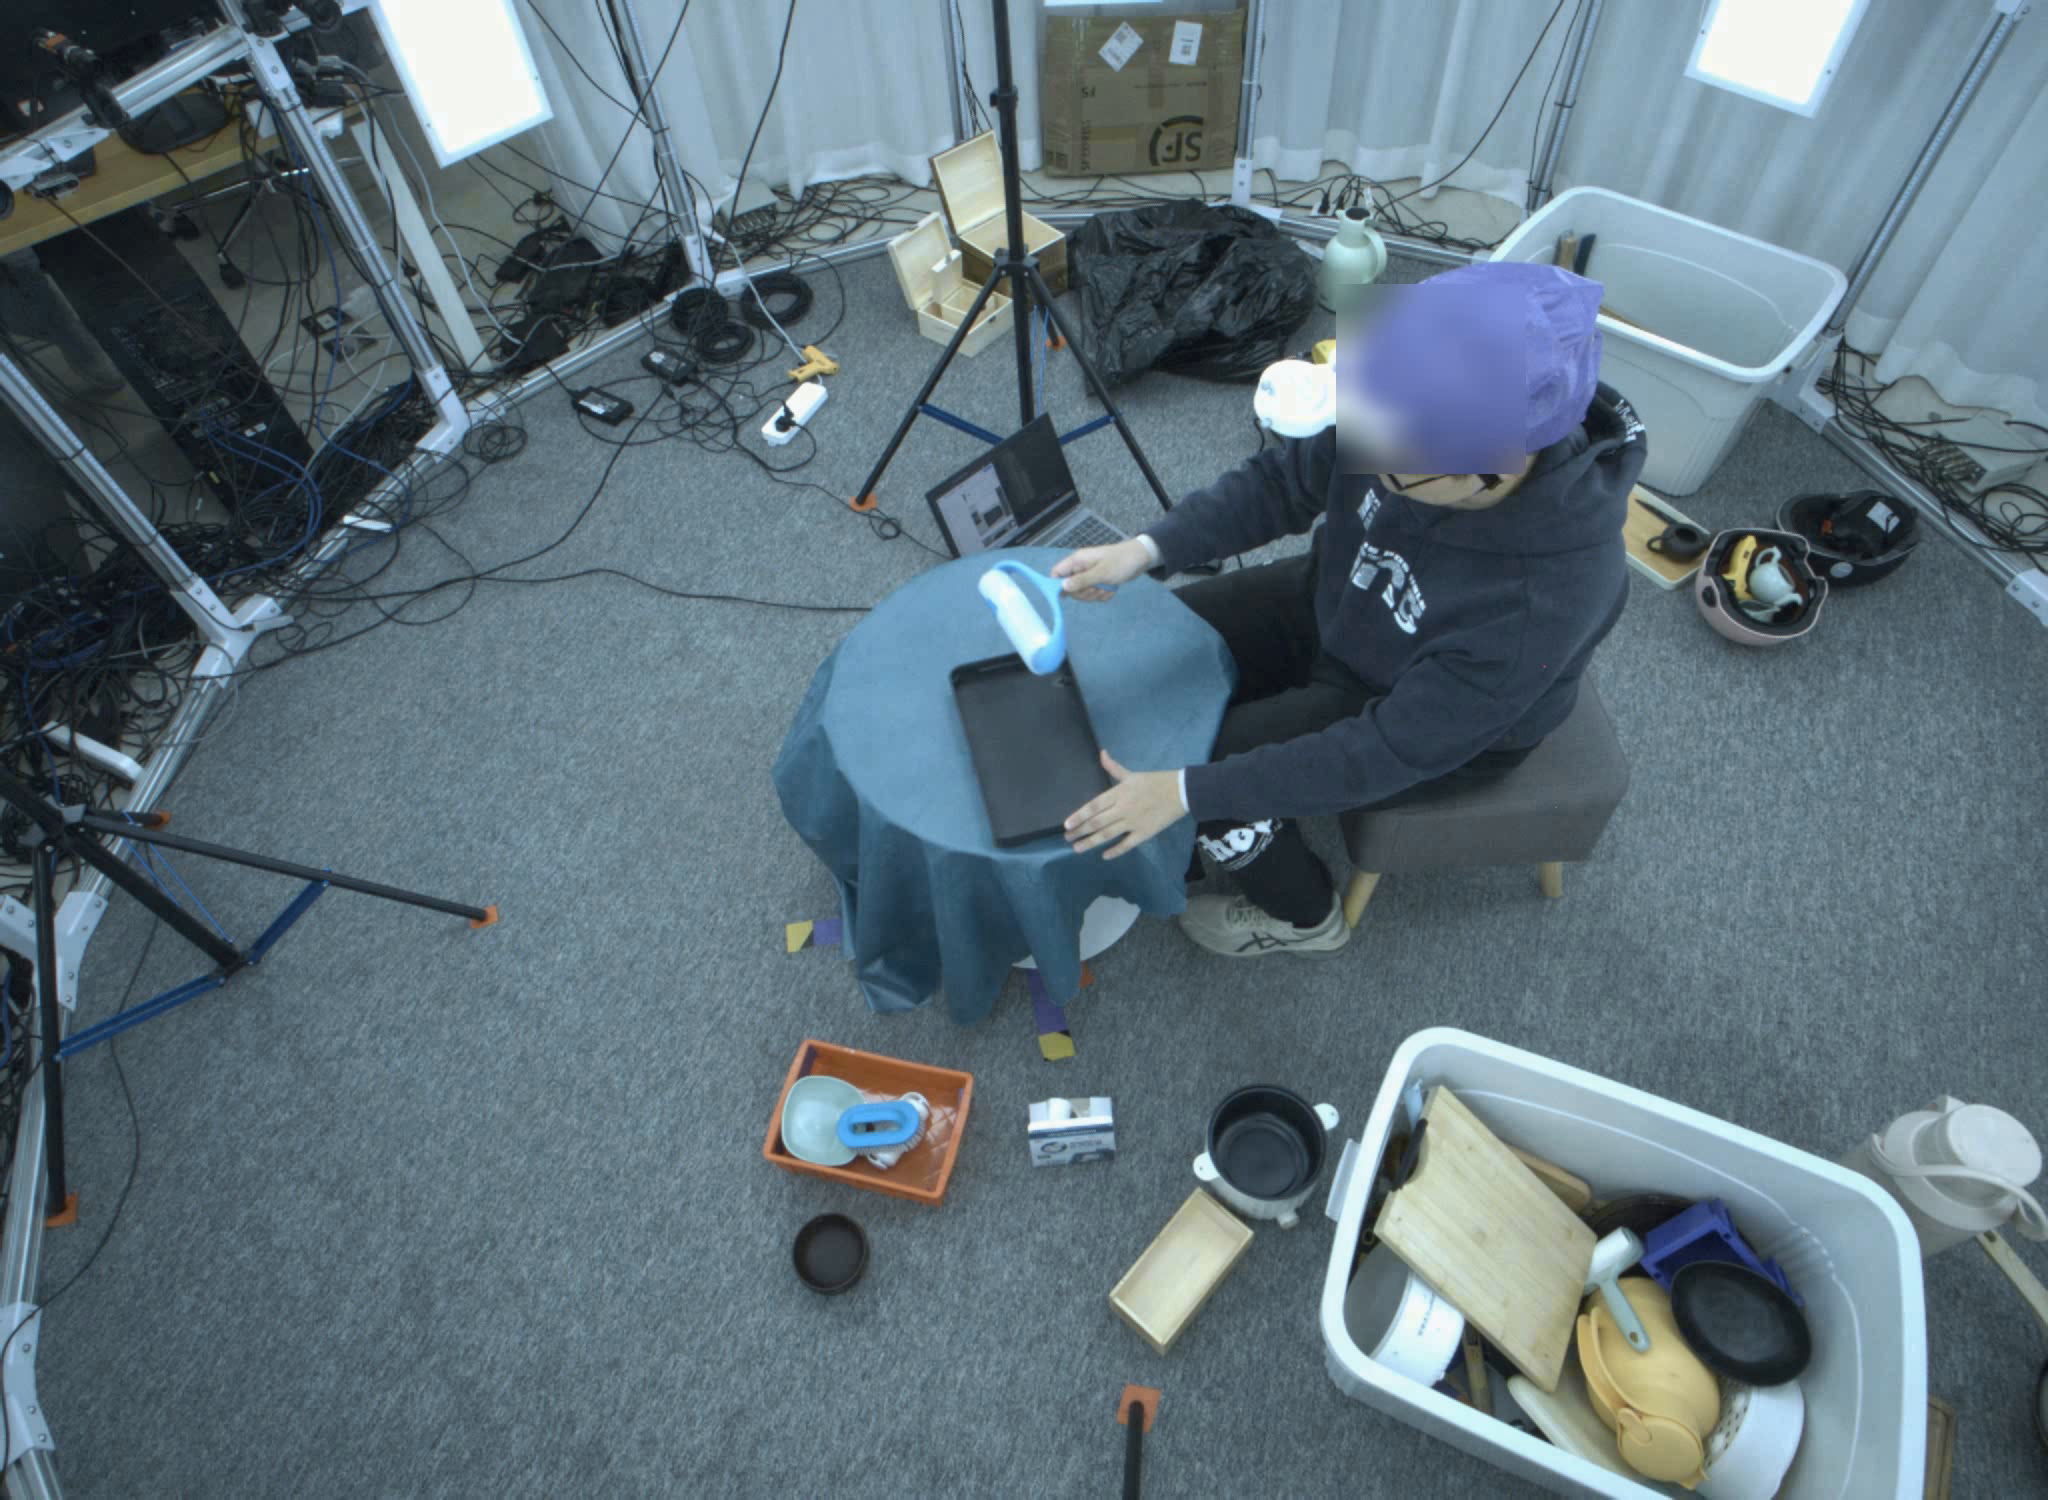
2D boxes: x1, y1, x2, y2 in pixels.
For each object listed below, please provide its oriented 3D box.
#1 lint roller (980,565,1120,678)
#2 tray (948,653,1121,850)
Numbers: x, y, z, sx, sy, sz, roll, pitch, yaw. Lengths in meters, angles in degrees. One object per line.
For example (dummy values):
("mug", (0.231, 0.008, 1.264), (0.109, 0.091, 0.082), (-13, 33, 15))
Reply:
("lint roller", (0.047, -0.208, 1.734), (0.181, 0.069, 0.224), (-30, 45, -5))
("tray", (0.011, -0.007, 1.775), (0.185, 0.037, 0.312), (-13, 53, -8))
